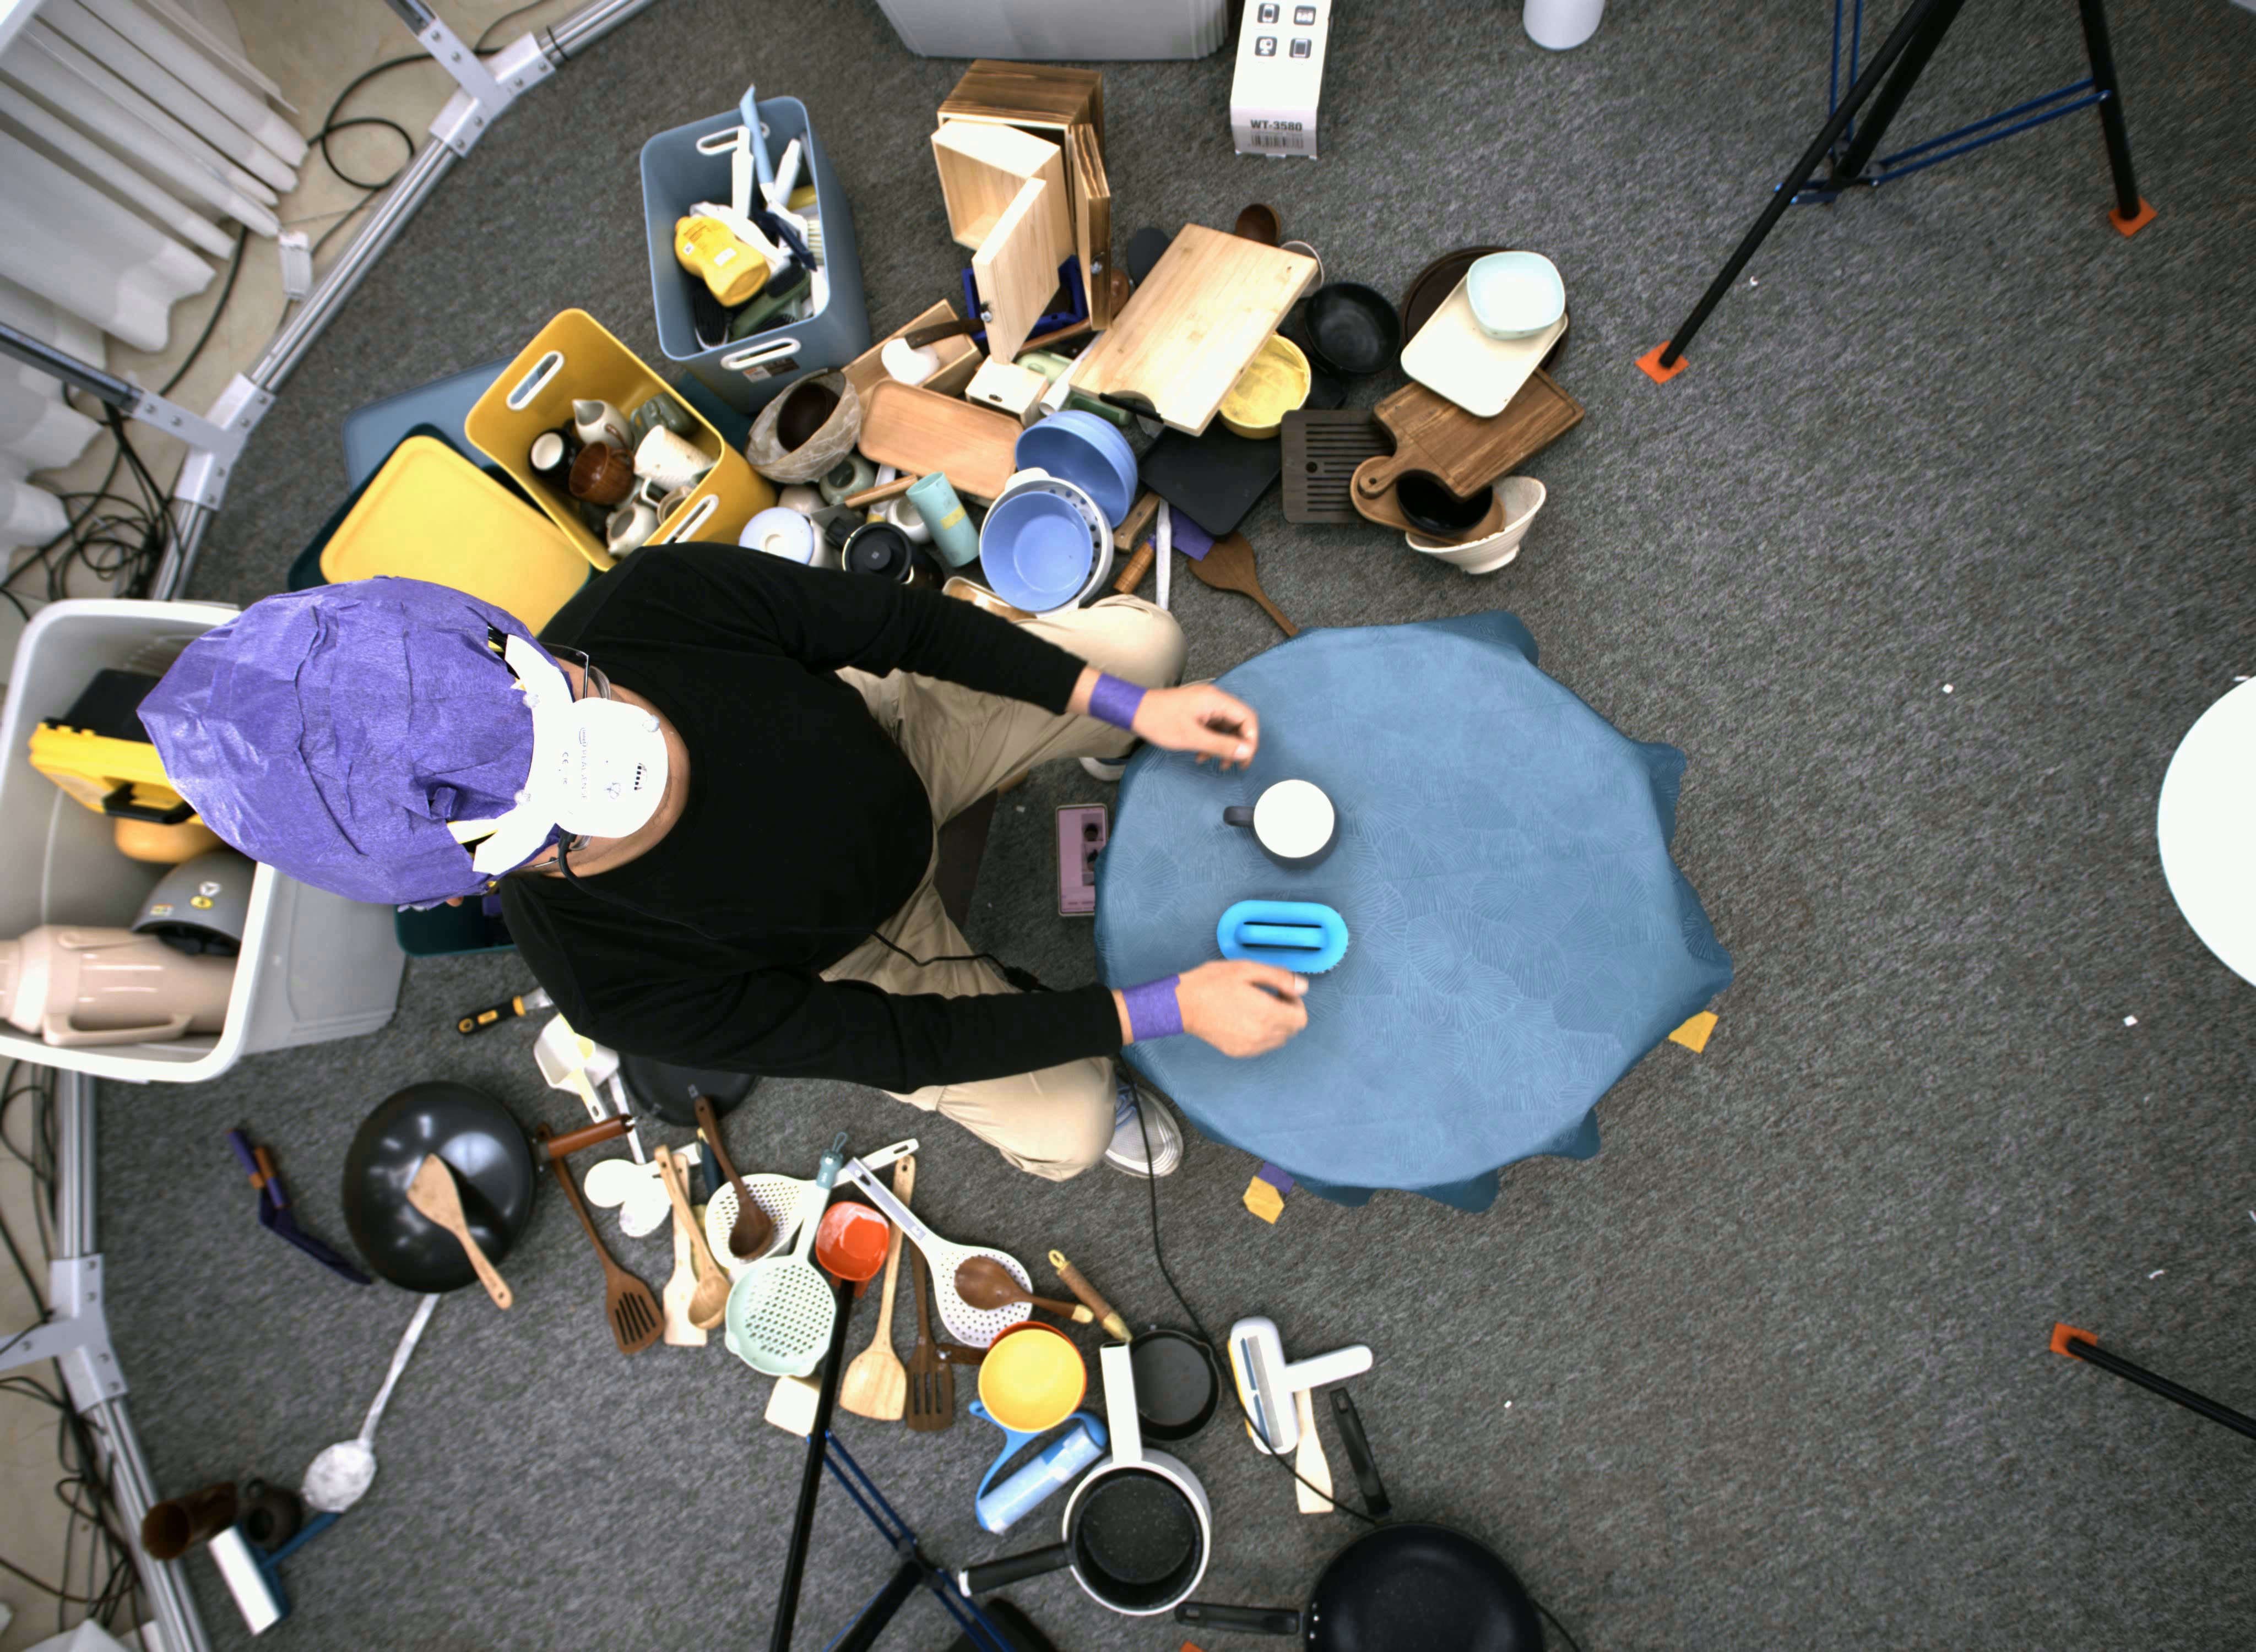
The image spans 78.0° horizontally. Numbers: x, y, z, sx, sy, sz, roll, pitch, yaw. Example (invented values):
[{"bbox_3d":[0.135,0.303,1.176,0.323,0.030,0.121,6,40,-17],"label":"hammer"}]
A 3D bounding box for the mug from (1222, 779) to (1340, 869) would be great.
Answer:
[{"bbox_3d":[0.159,-0.007,1.436,0.123,0.090,0.093,9,86,9],"label":"mug"}]

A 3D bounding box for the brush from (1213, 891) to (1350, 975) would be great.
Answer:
[{"bbox_3d":[0.159,0.111,1.444,0.142,0.063,0.084,4,91,11],"label":"brush"}]
